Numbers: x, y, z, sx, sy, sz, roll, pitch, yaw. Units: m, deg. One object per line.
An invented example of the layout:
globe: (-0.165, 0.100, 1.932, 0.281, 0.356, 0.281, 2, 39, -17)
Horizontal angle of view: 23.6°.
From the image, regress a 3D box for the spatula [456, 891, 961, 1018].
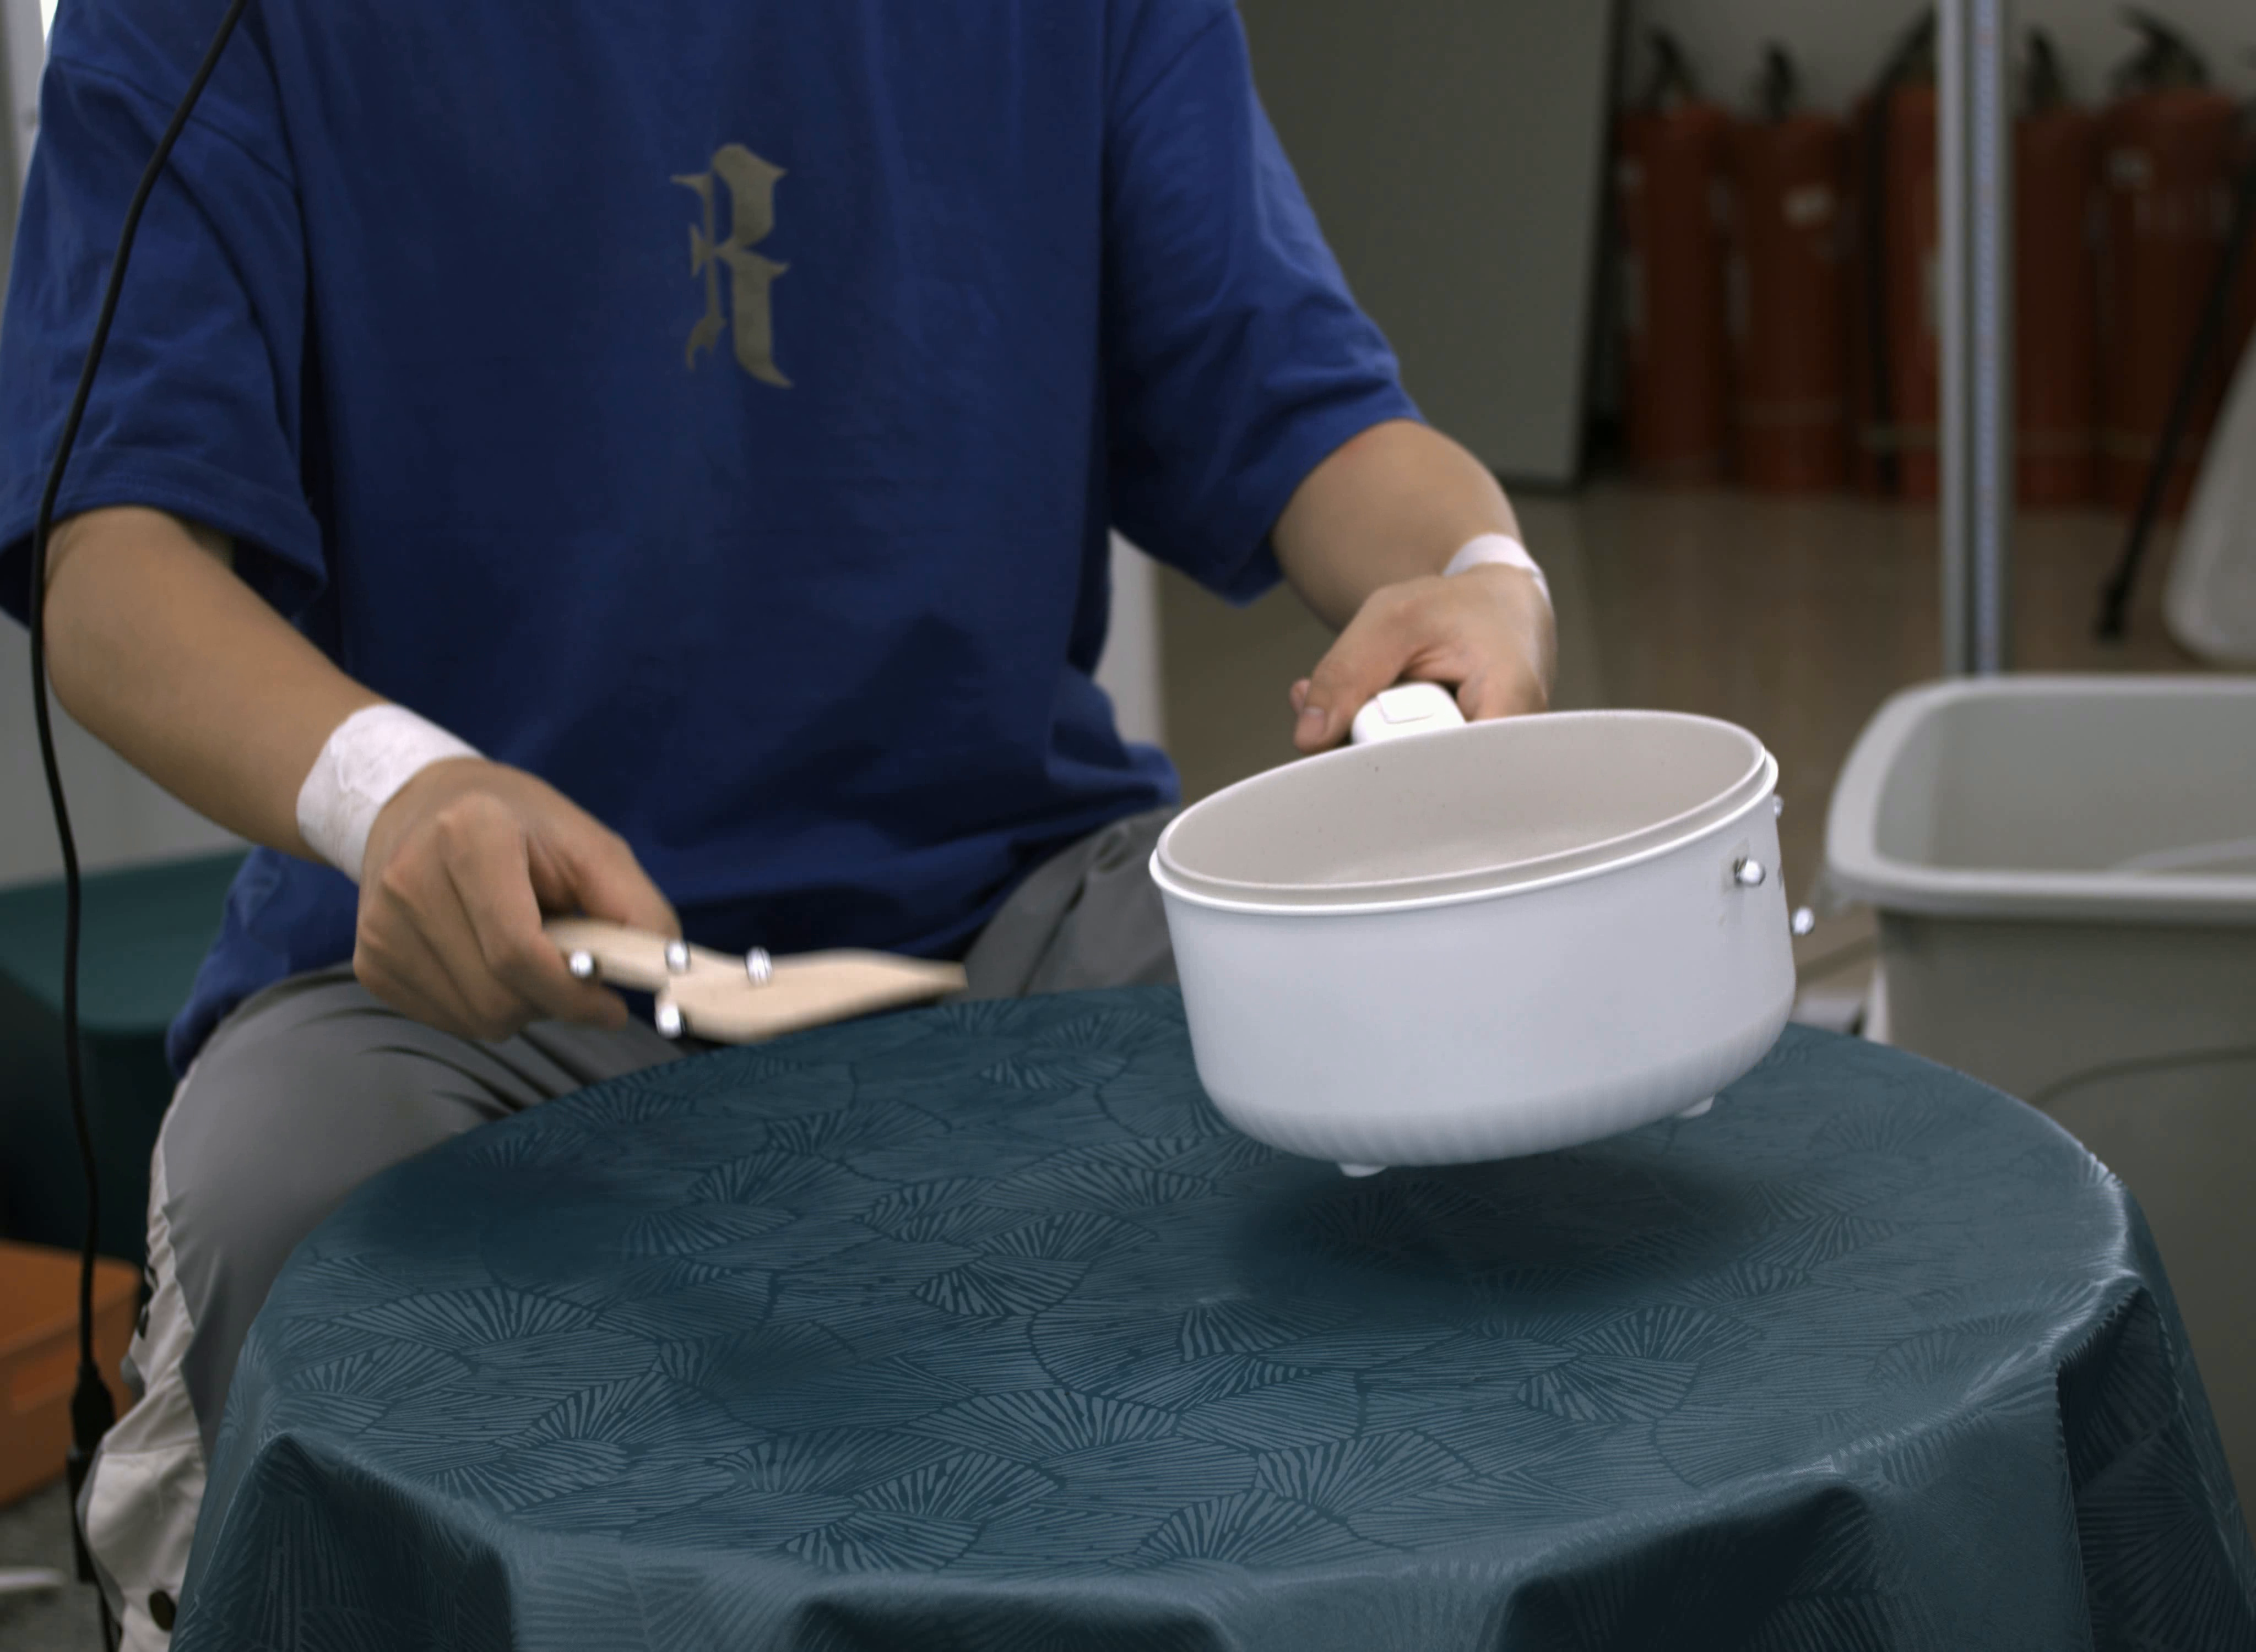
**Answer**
spatula: (-0.149, 0.039, 1.719, 0.071, 0.011, 0.296, -15, 11, -28)

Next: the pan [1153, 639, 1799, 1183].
pan: (0.108, 0.021, 1.778, 0.199, 0.103, 0.356, -13, 13, -1)
